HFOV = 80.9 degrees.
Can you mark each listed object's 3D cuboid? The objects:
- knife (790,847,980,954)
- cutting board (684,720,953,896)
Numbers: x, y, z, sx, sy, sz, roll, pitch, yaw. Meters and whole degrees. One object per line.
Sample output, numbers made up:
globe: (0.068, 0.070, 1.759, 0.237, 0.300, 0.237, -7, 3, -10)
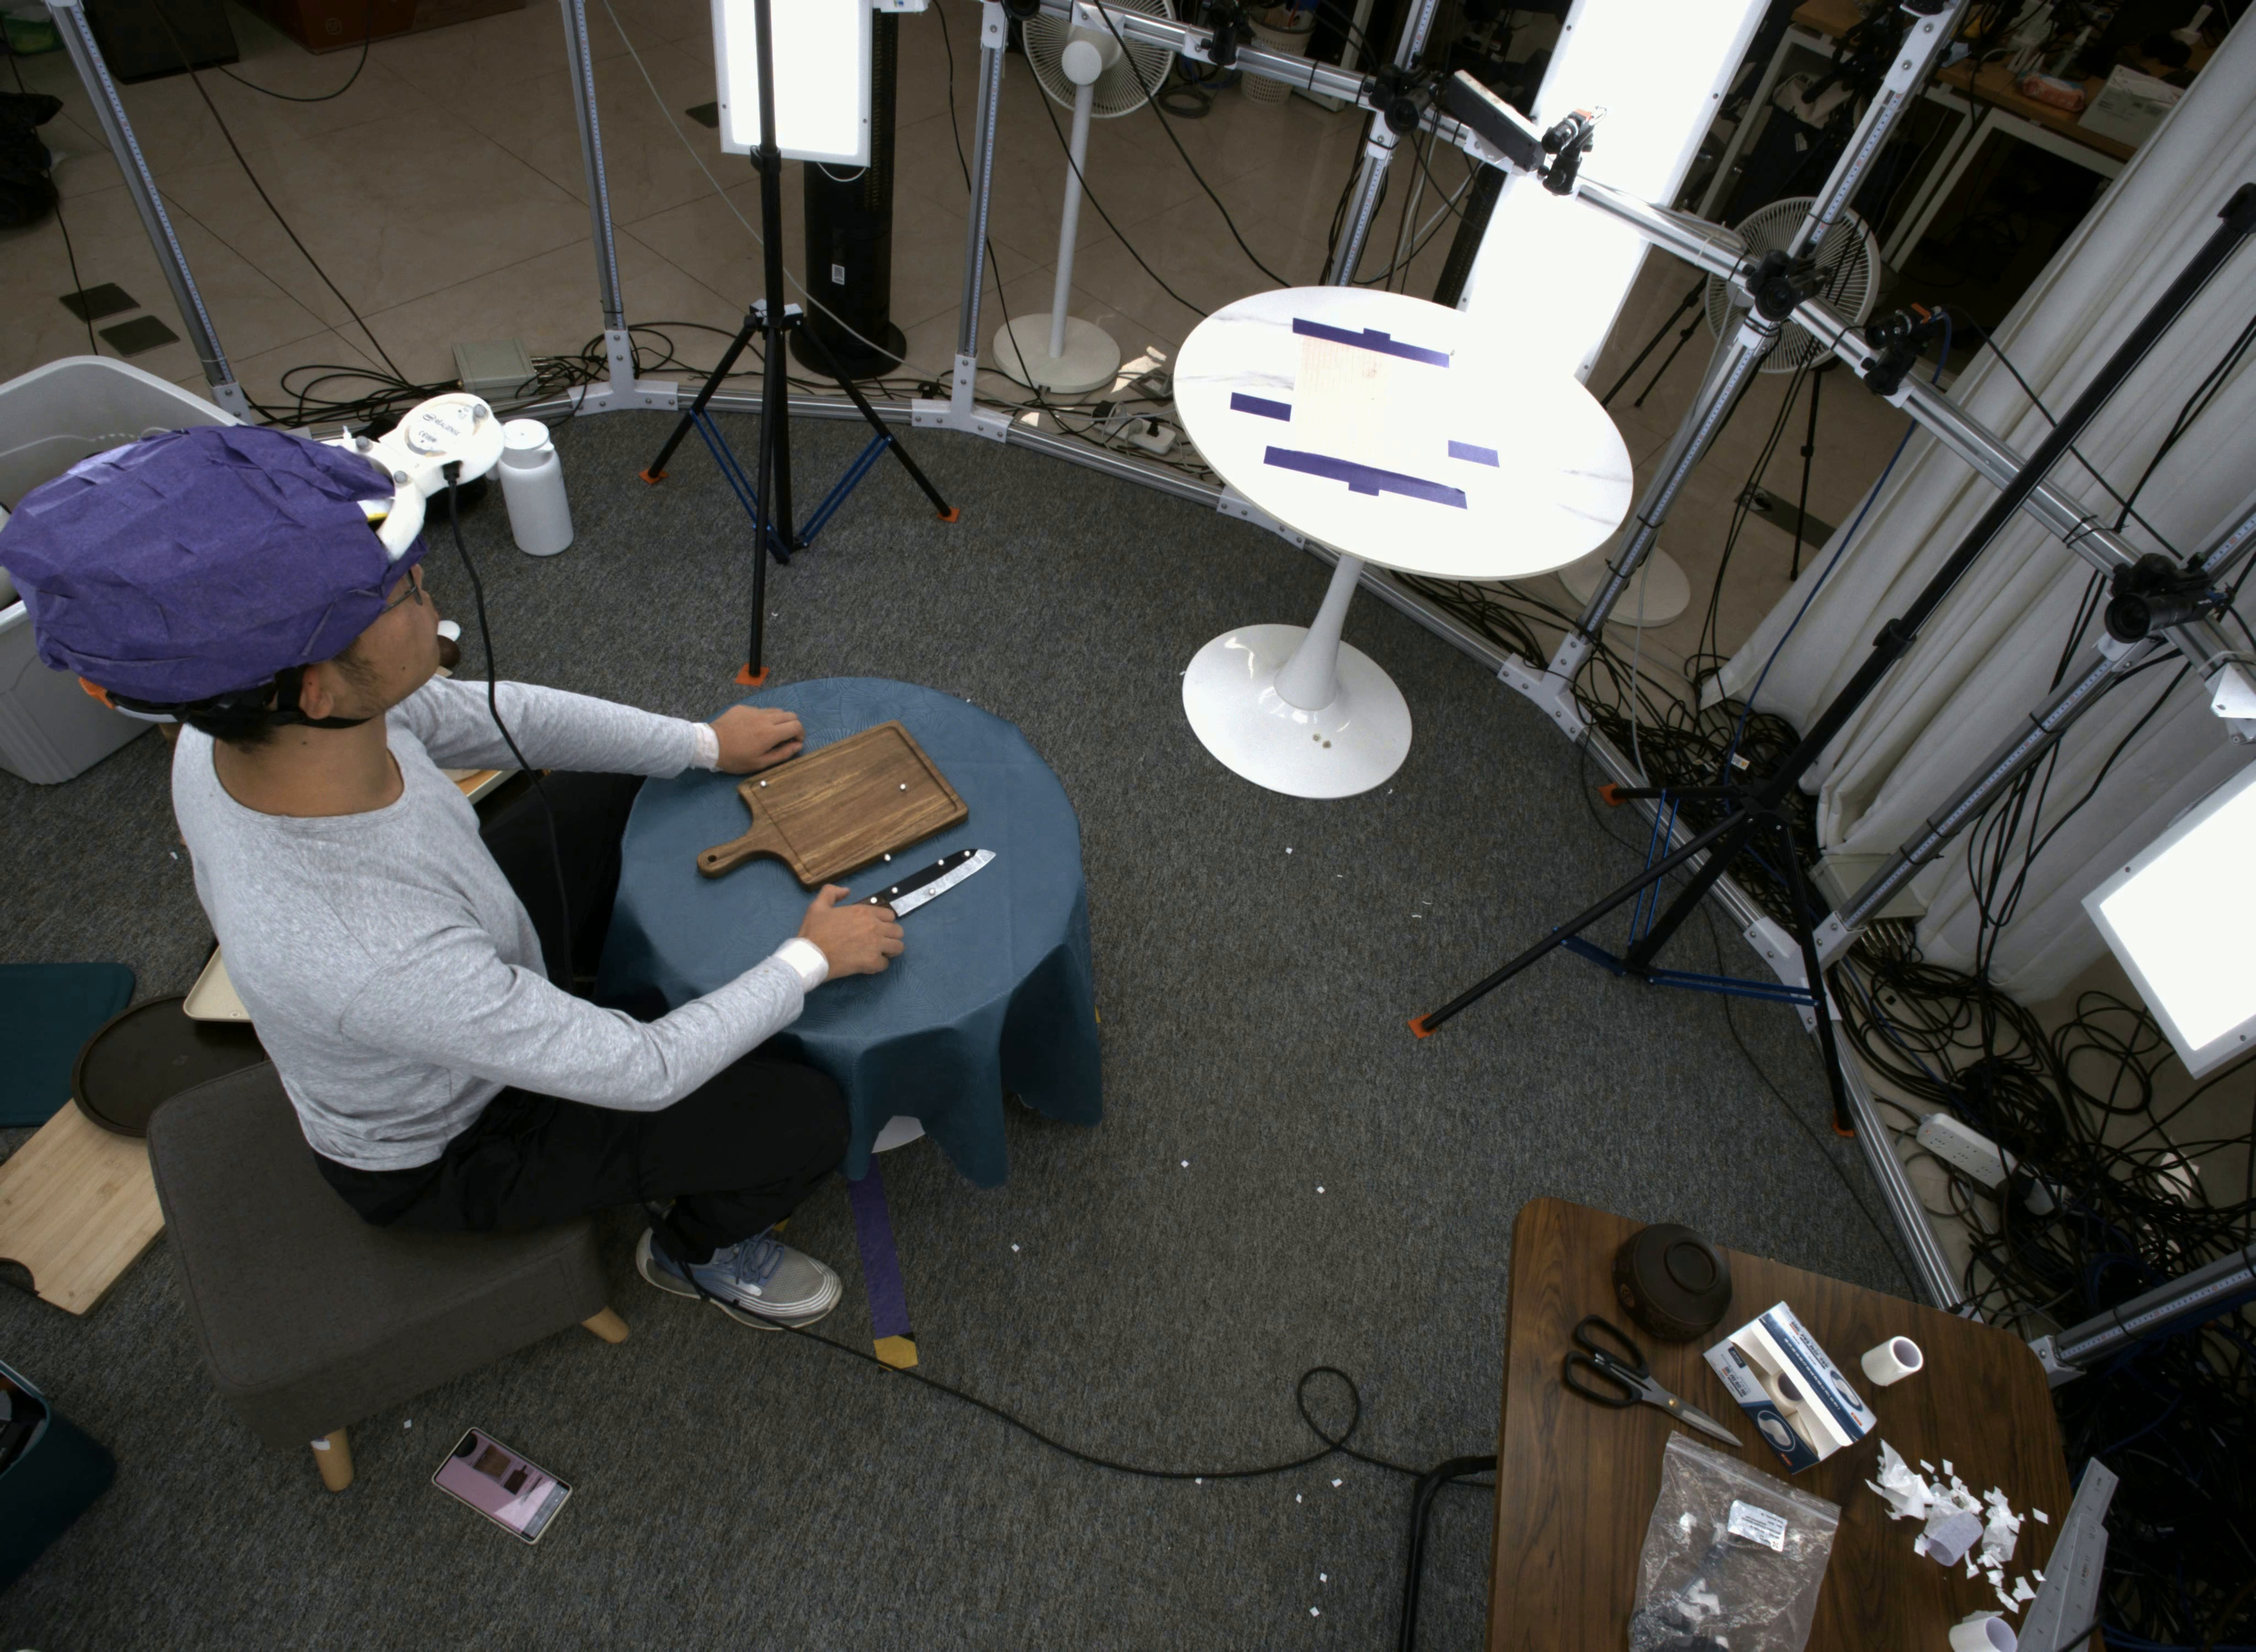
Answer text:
knife: (-0.309, 0.090, 1.688, 0.290, 0.020, 0.049, -28, 70, -33)
cutting board: (-0.429, -0.012, 1.730, 0.353, 0.023, 0.196, -28, 64, -30)
